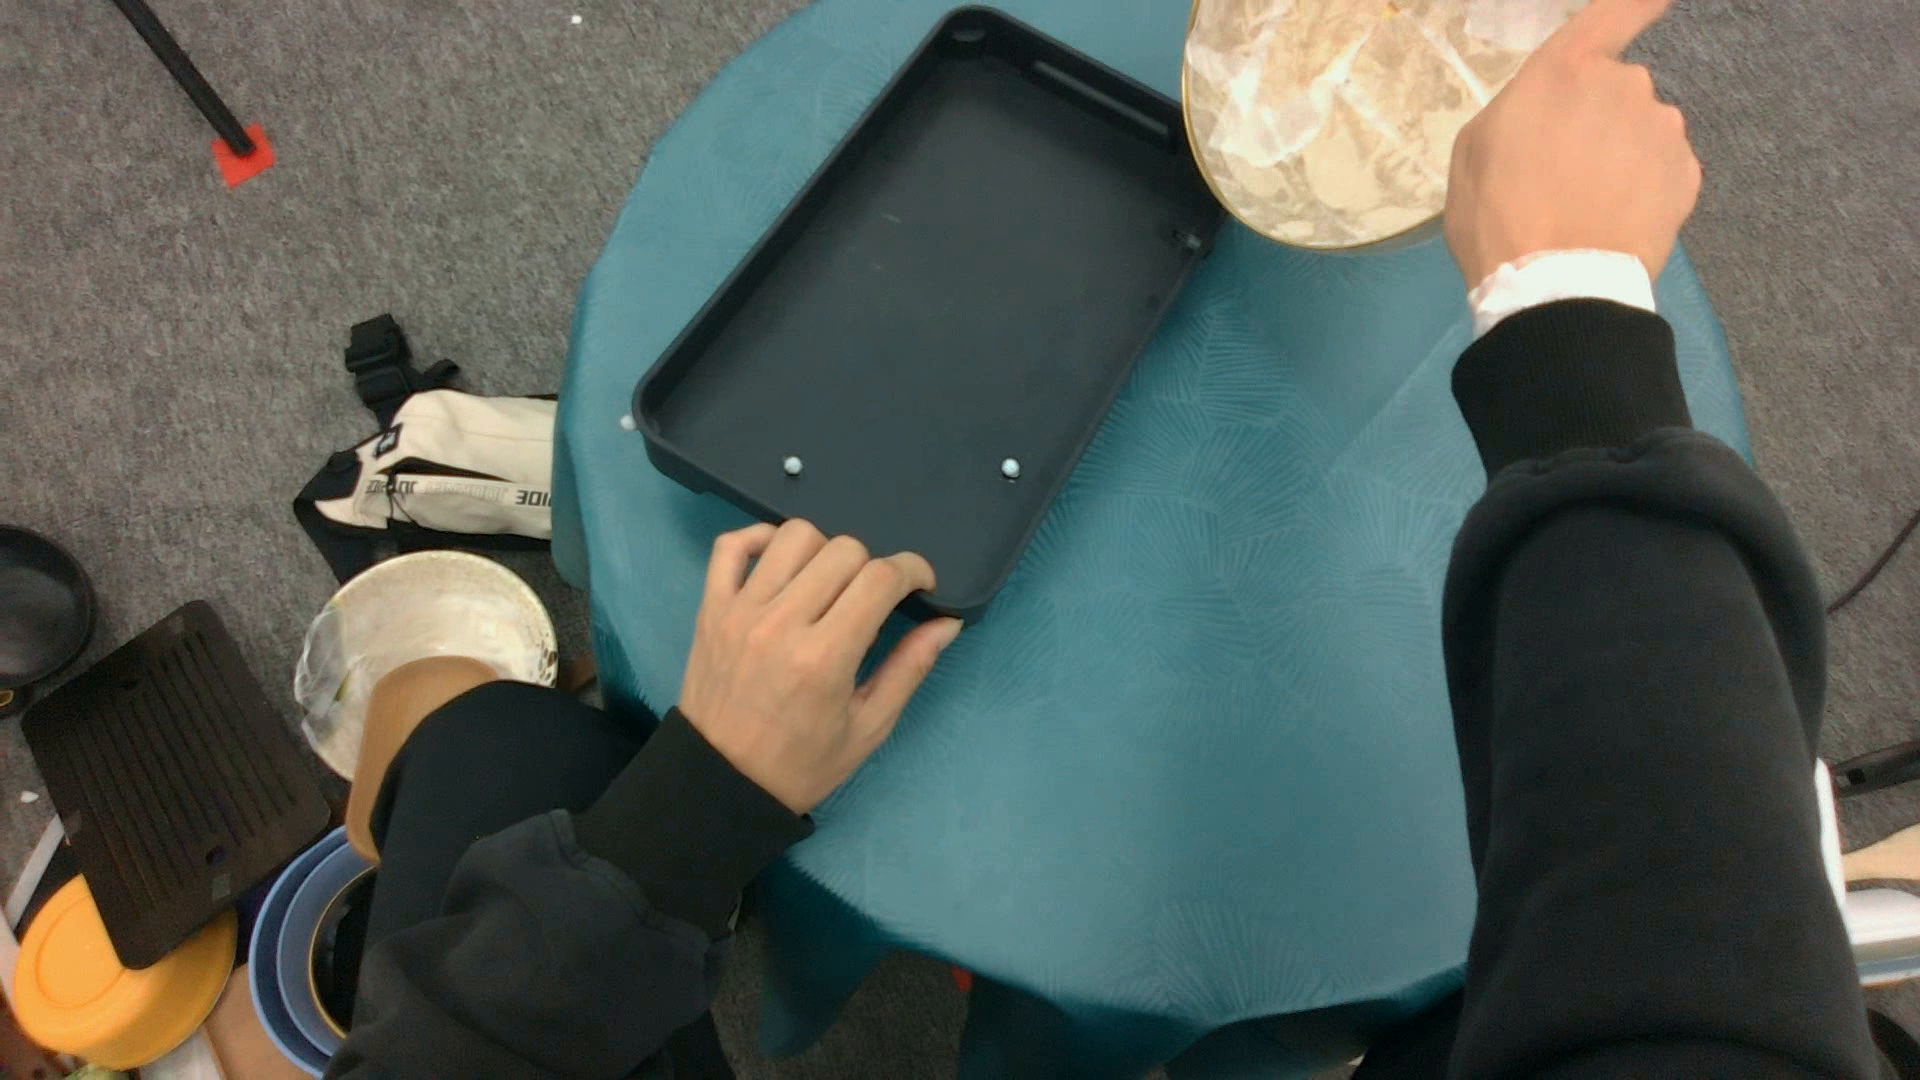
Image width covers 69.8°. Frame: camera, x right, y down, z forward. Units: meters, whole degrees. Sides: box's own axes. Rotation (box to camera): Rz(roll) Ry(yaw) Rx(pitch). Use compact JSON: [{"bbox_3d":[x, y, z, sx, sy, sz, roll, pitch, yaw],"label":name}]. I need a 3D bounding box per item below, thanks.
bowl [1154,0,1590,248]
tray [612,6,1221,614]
[{"bbox_3d":[0.195,-0.231,0.633,0.095,0.213,0.215,1,65,-44],"label":"bowl"},{"bbox_3d":[-0.004,-0.126,0.669,0.184,0.037,0.319,31,62,7],"label":"tray"}]
